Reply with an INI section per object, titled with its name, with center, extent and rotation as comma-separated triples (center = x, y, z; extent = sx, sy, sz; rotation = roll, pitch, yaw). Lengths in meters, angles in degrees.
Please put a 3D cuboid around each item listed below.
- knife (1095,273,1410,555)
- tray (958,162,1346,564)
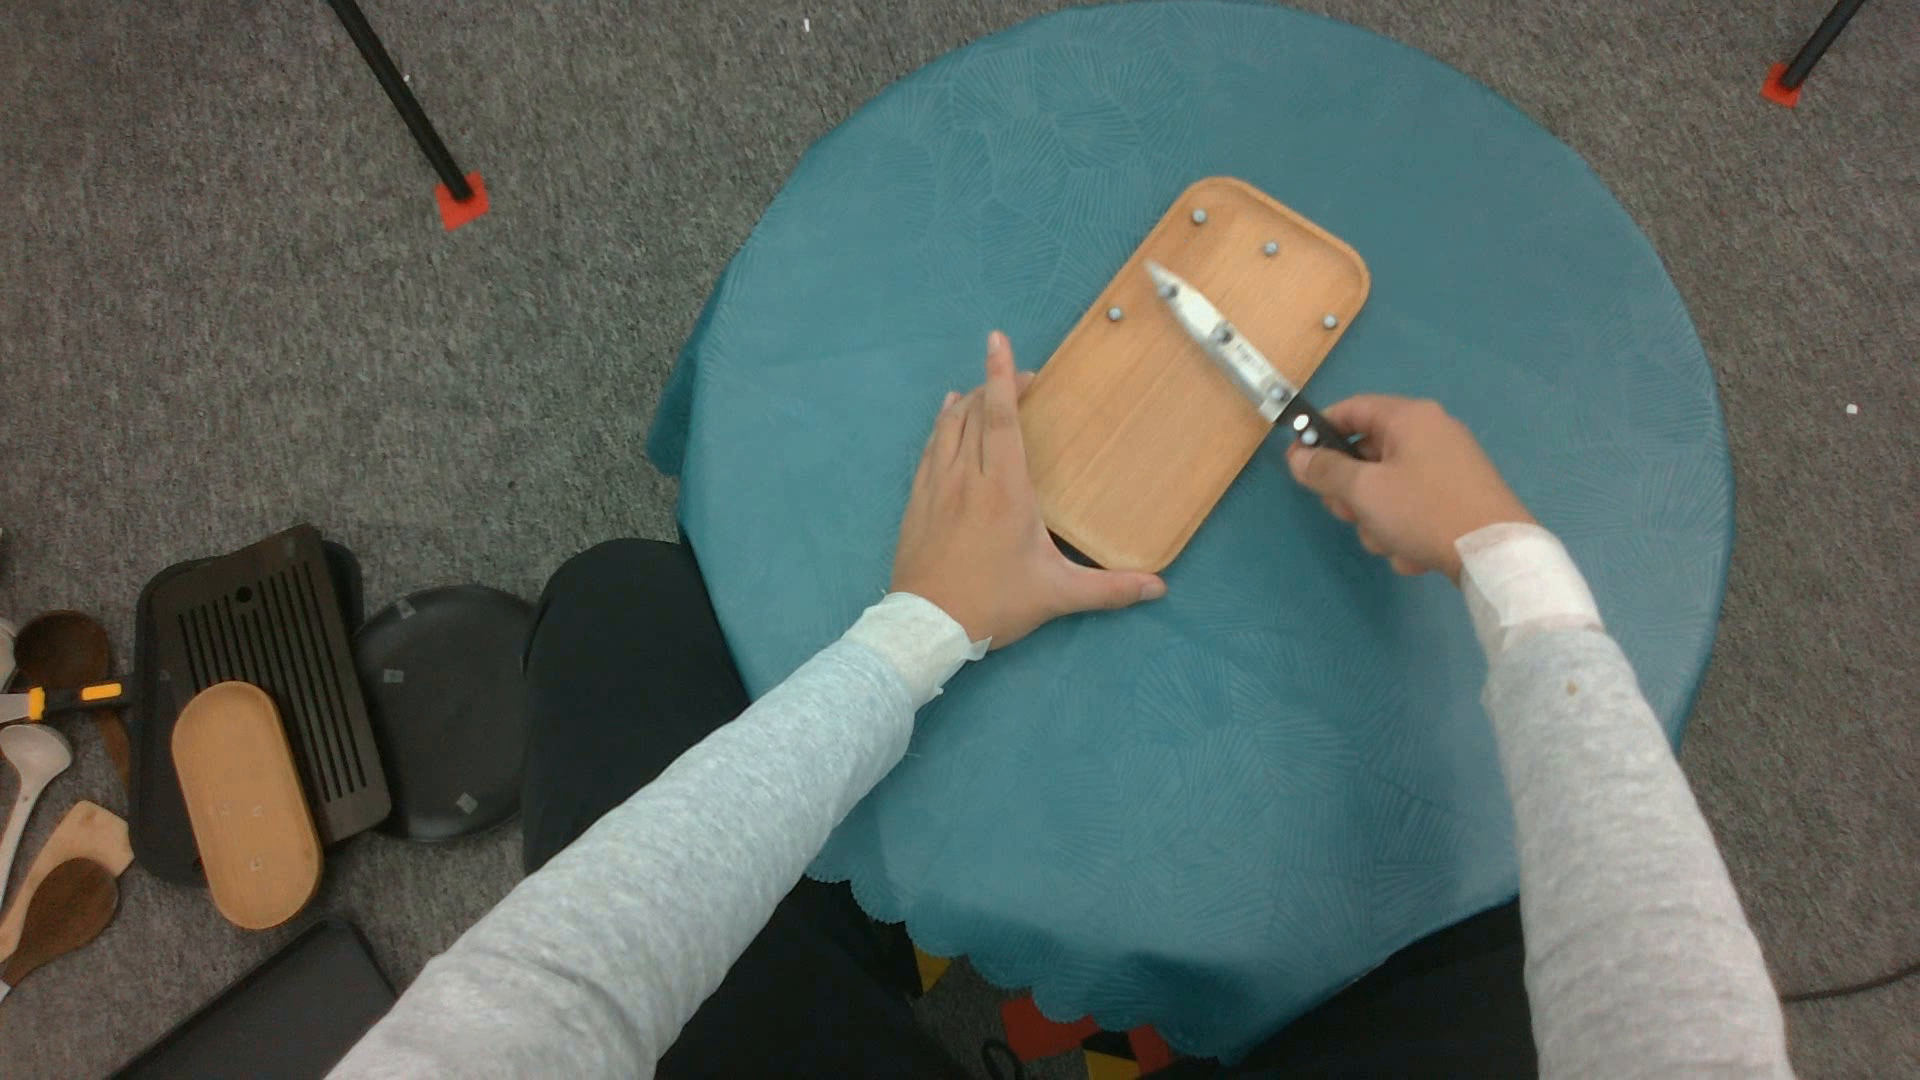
[knife]
center = 0.156, -0.078, 0.754
extent = 0.238, 0.016, 0.024
rotation = 47, 118, 24
[tray]
center = 0.113, -0.107, 0.799
extent = 0.130, 0.023, 0.251
rotation = 35, 76, 13
